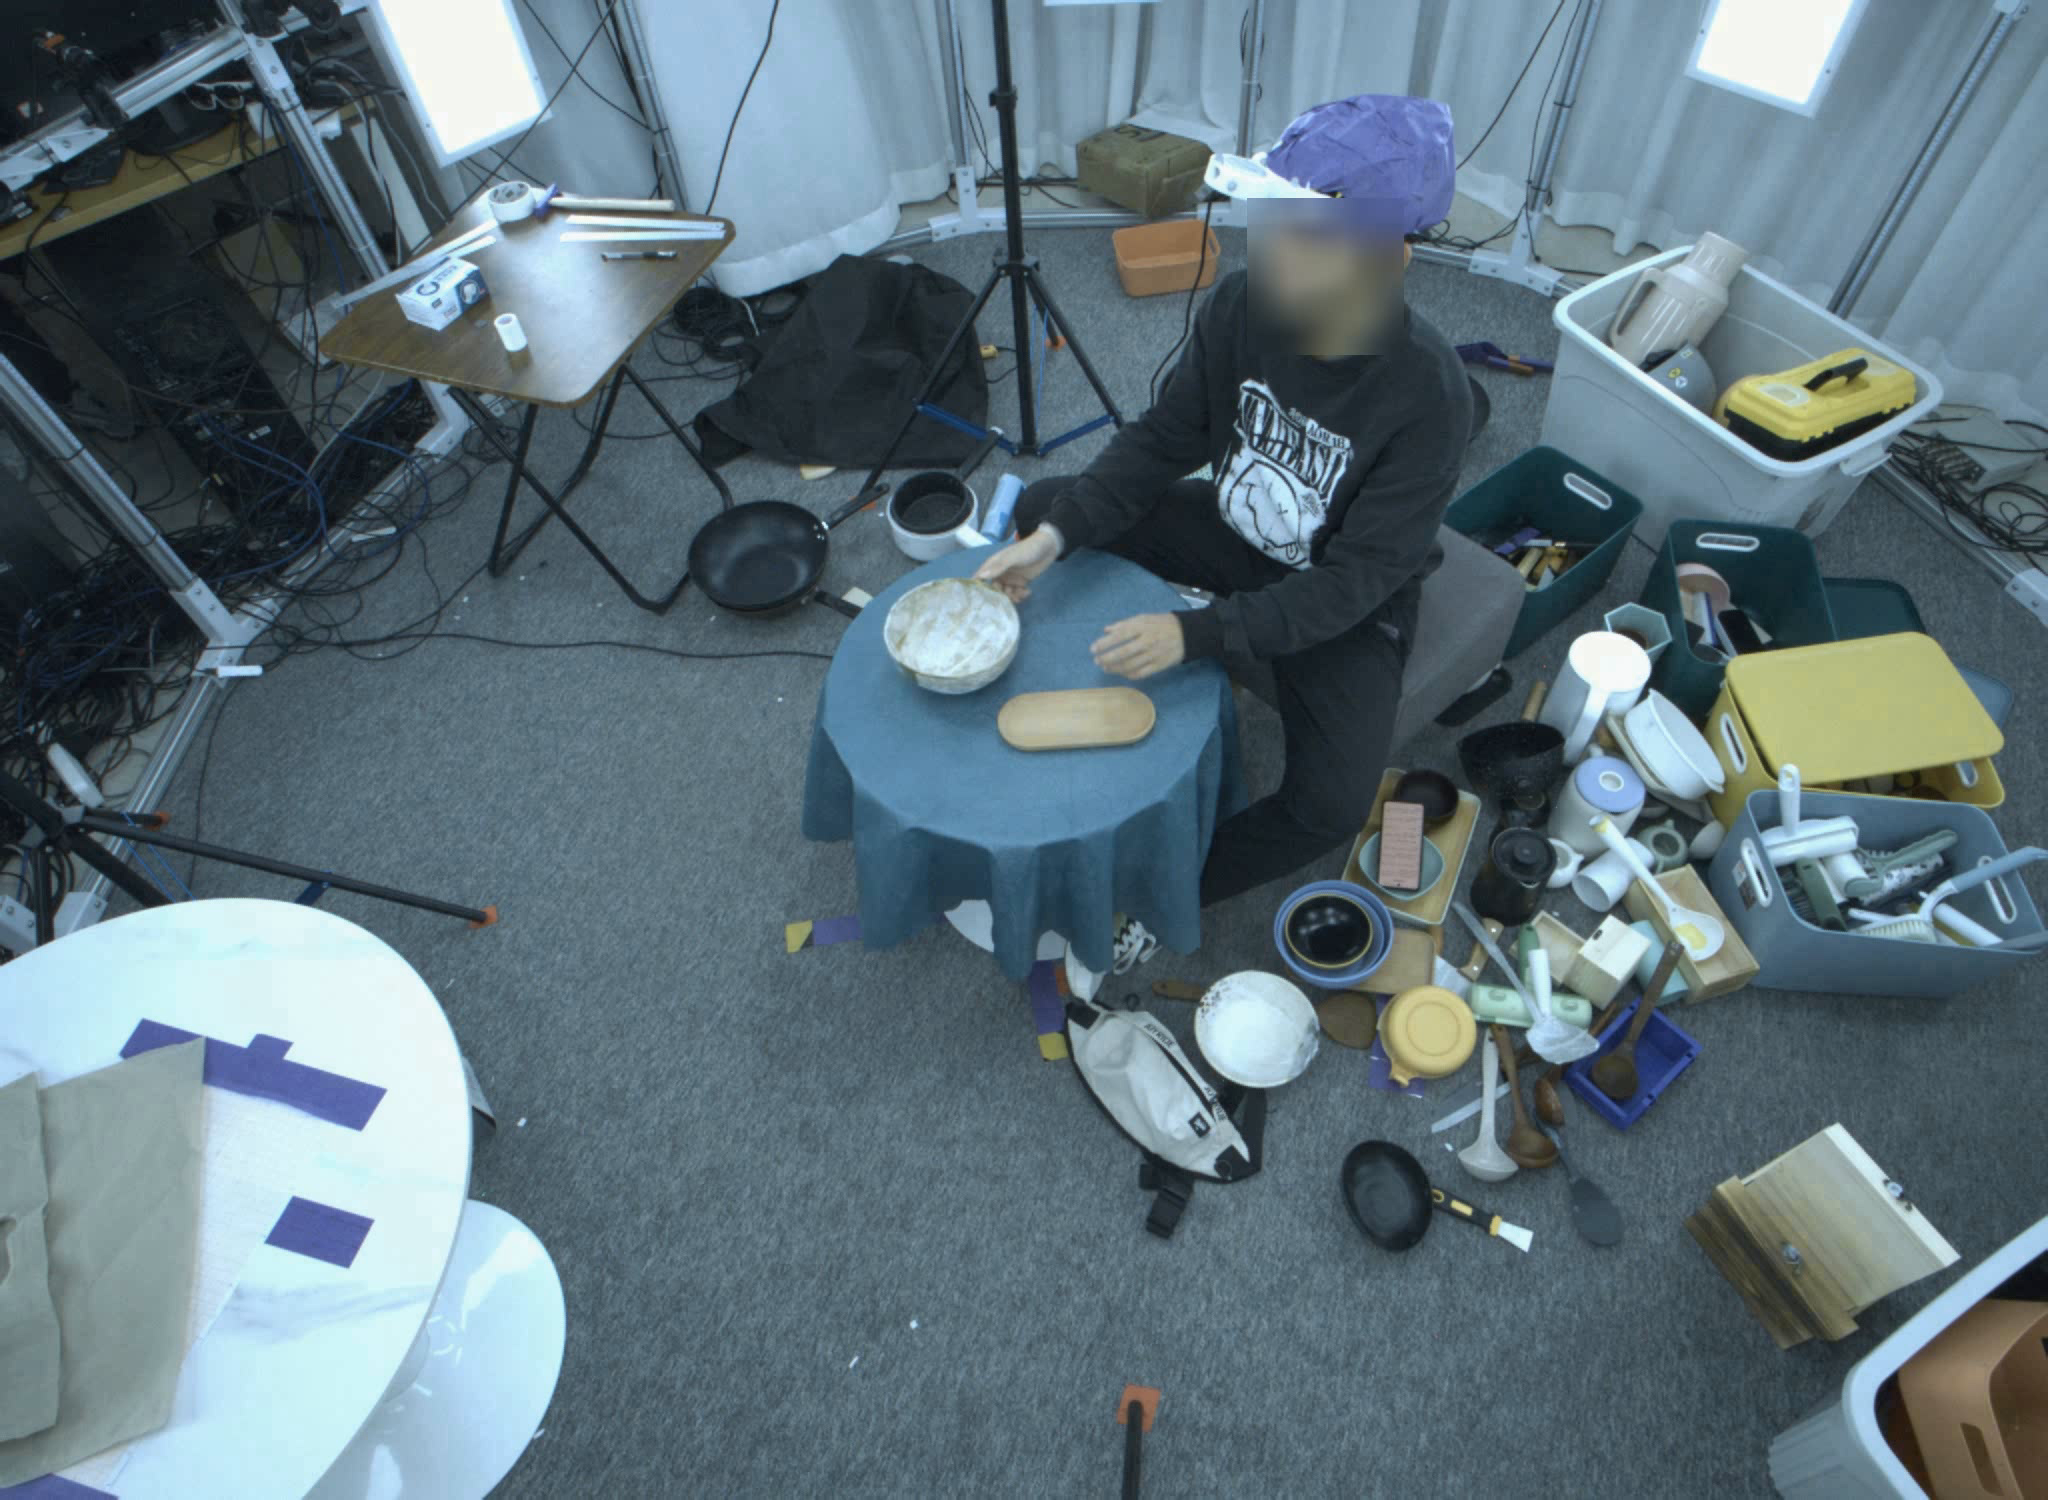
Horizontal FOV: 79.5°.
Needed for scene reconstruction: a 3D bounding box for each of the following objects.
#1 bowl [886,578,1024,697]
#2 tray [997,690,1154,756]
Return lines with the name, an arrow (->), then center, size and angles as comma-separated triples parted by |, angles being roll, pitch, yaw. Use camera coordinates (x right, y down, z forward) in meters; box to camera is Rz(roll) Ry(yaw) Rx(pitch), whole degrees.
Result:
bowl -> -0.099, -0.151, 1.848 | 0.214, 0.095, 0.212 | 0, 54, 1
tray -> 0.076, -0.039, 1.814 | 0.231, 0.020, 0.100 | -6, 53, 0
